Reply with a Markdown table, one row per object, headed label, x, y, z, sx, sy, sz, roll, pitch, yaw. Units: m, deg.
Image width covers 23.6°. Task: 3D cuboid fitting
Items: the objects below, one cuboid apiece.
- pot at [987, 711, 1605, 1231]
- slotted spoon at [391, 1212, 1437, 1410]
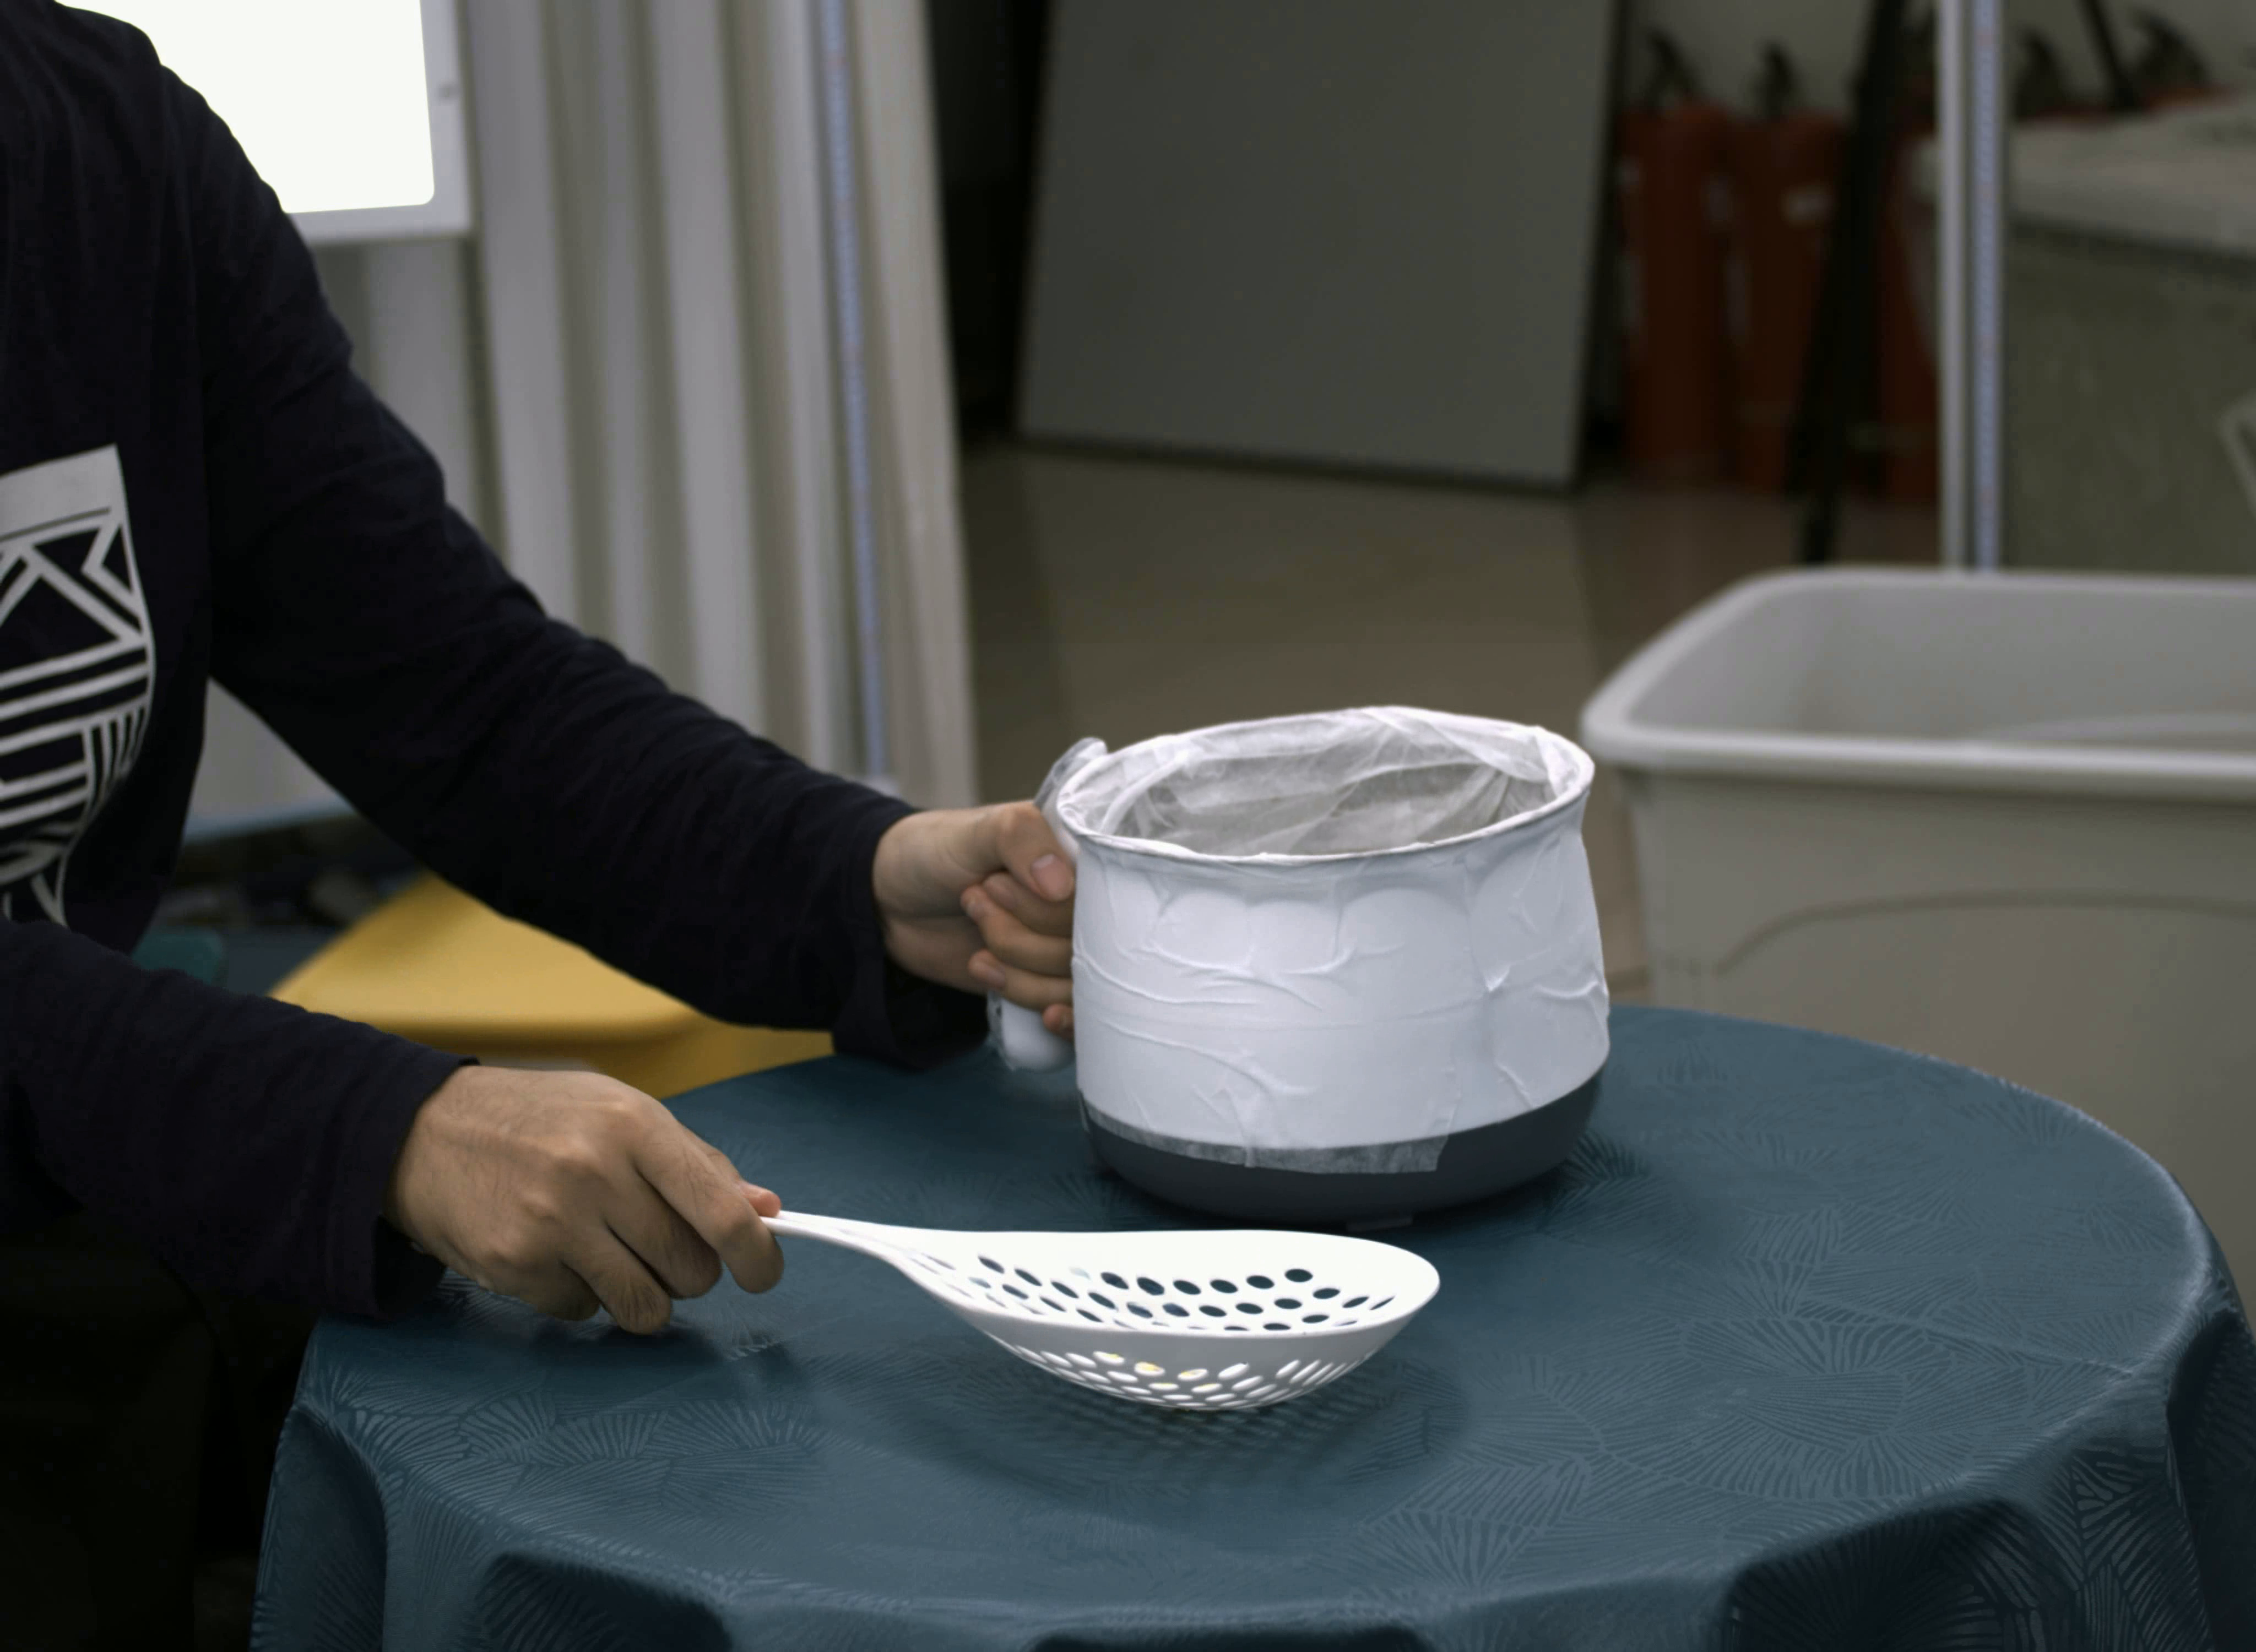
| label | x | y | z | sx | sy | sz | roll | pitch | yaw |
| --- | --- | --- | --- | --- | --- | --- | --- | --- | --- |
| pot | 0.046 | 0.043 | 1.783 | 0.235 | 0.138 | 0.175 | 7 | 17 | 38 |
| slotted spoon | -0.073 | 0.135 | 1.621 | 0.349 | 0.051 | 0.134 | 8 | 12 | 29 |
